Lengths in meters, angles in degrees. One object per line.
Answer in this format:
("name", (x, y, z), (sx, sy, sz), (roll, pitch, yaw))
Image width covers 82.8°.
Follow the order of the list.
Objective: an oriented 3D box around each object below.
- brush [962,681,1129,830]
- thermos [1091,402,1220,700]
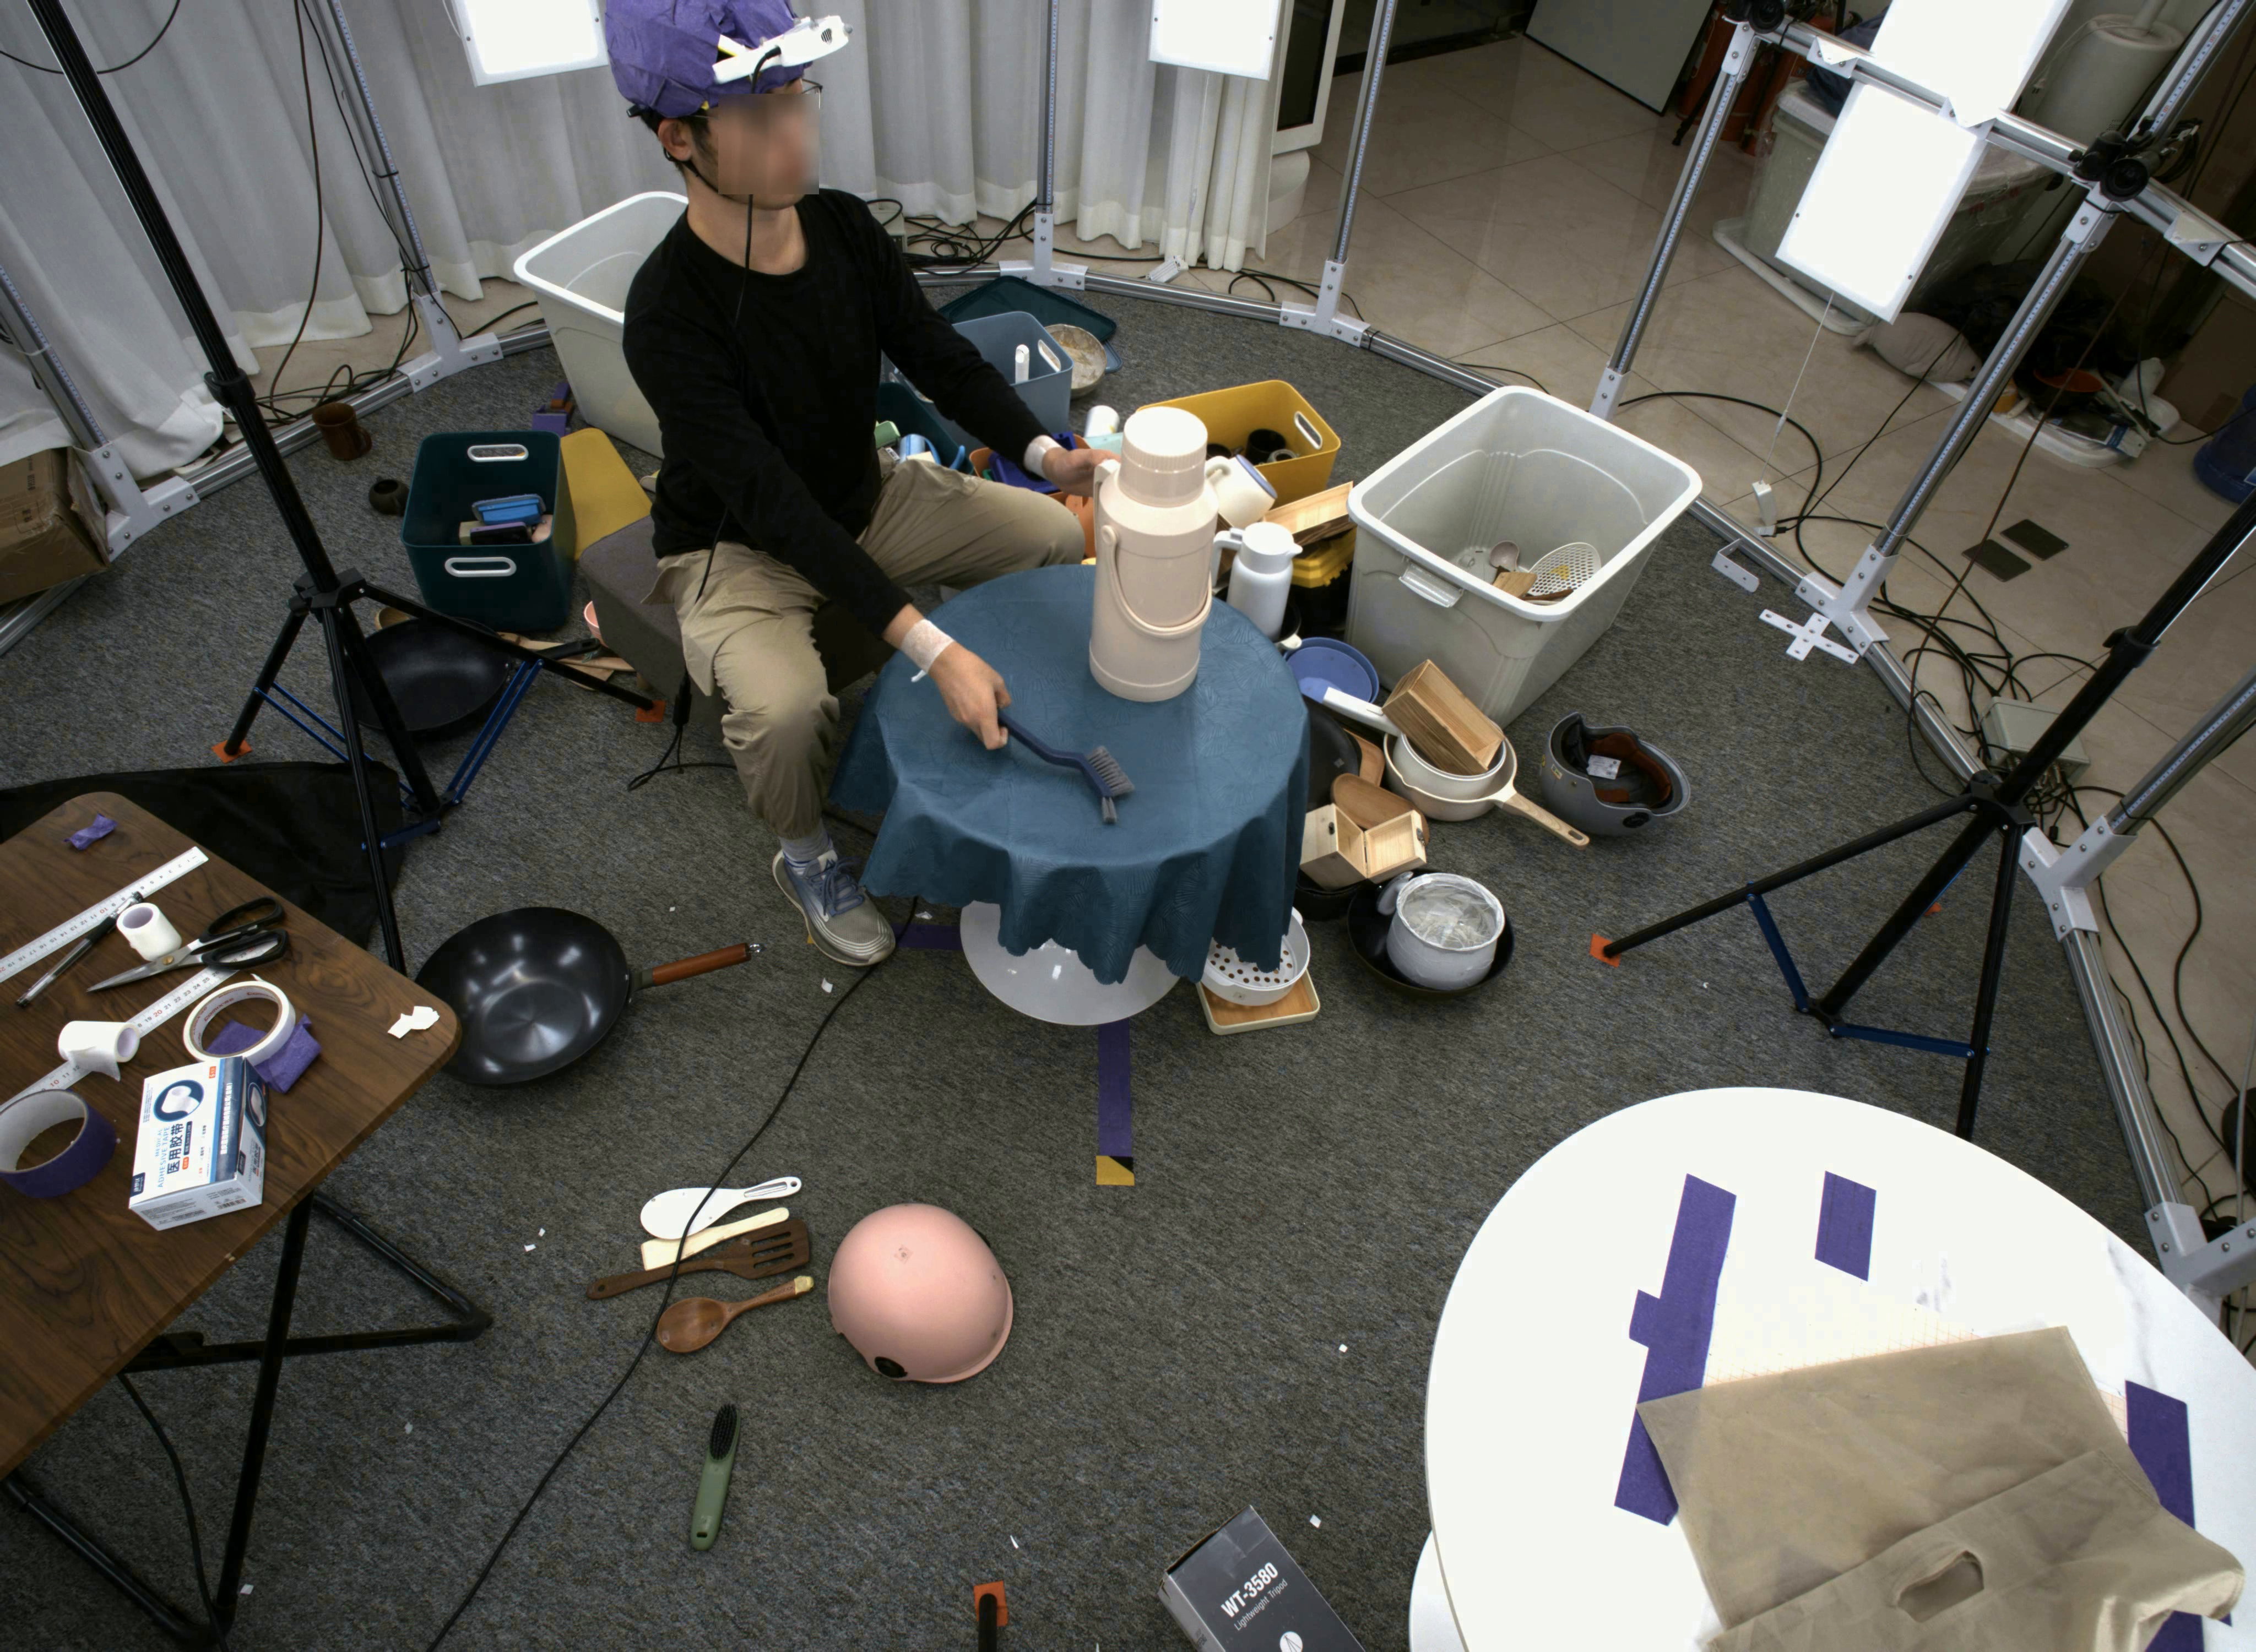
("brush", (-0.122, -0.099, 1.708), (0.274, 0.033, 0.097), (29, 65, 10))
("thermos", (0.027, -0.373, 1.740), (0.176, 0.396, 0.210), (-32, 59, -26))
